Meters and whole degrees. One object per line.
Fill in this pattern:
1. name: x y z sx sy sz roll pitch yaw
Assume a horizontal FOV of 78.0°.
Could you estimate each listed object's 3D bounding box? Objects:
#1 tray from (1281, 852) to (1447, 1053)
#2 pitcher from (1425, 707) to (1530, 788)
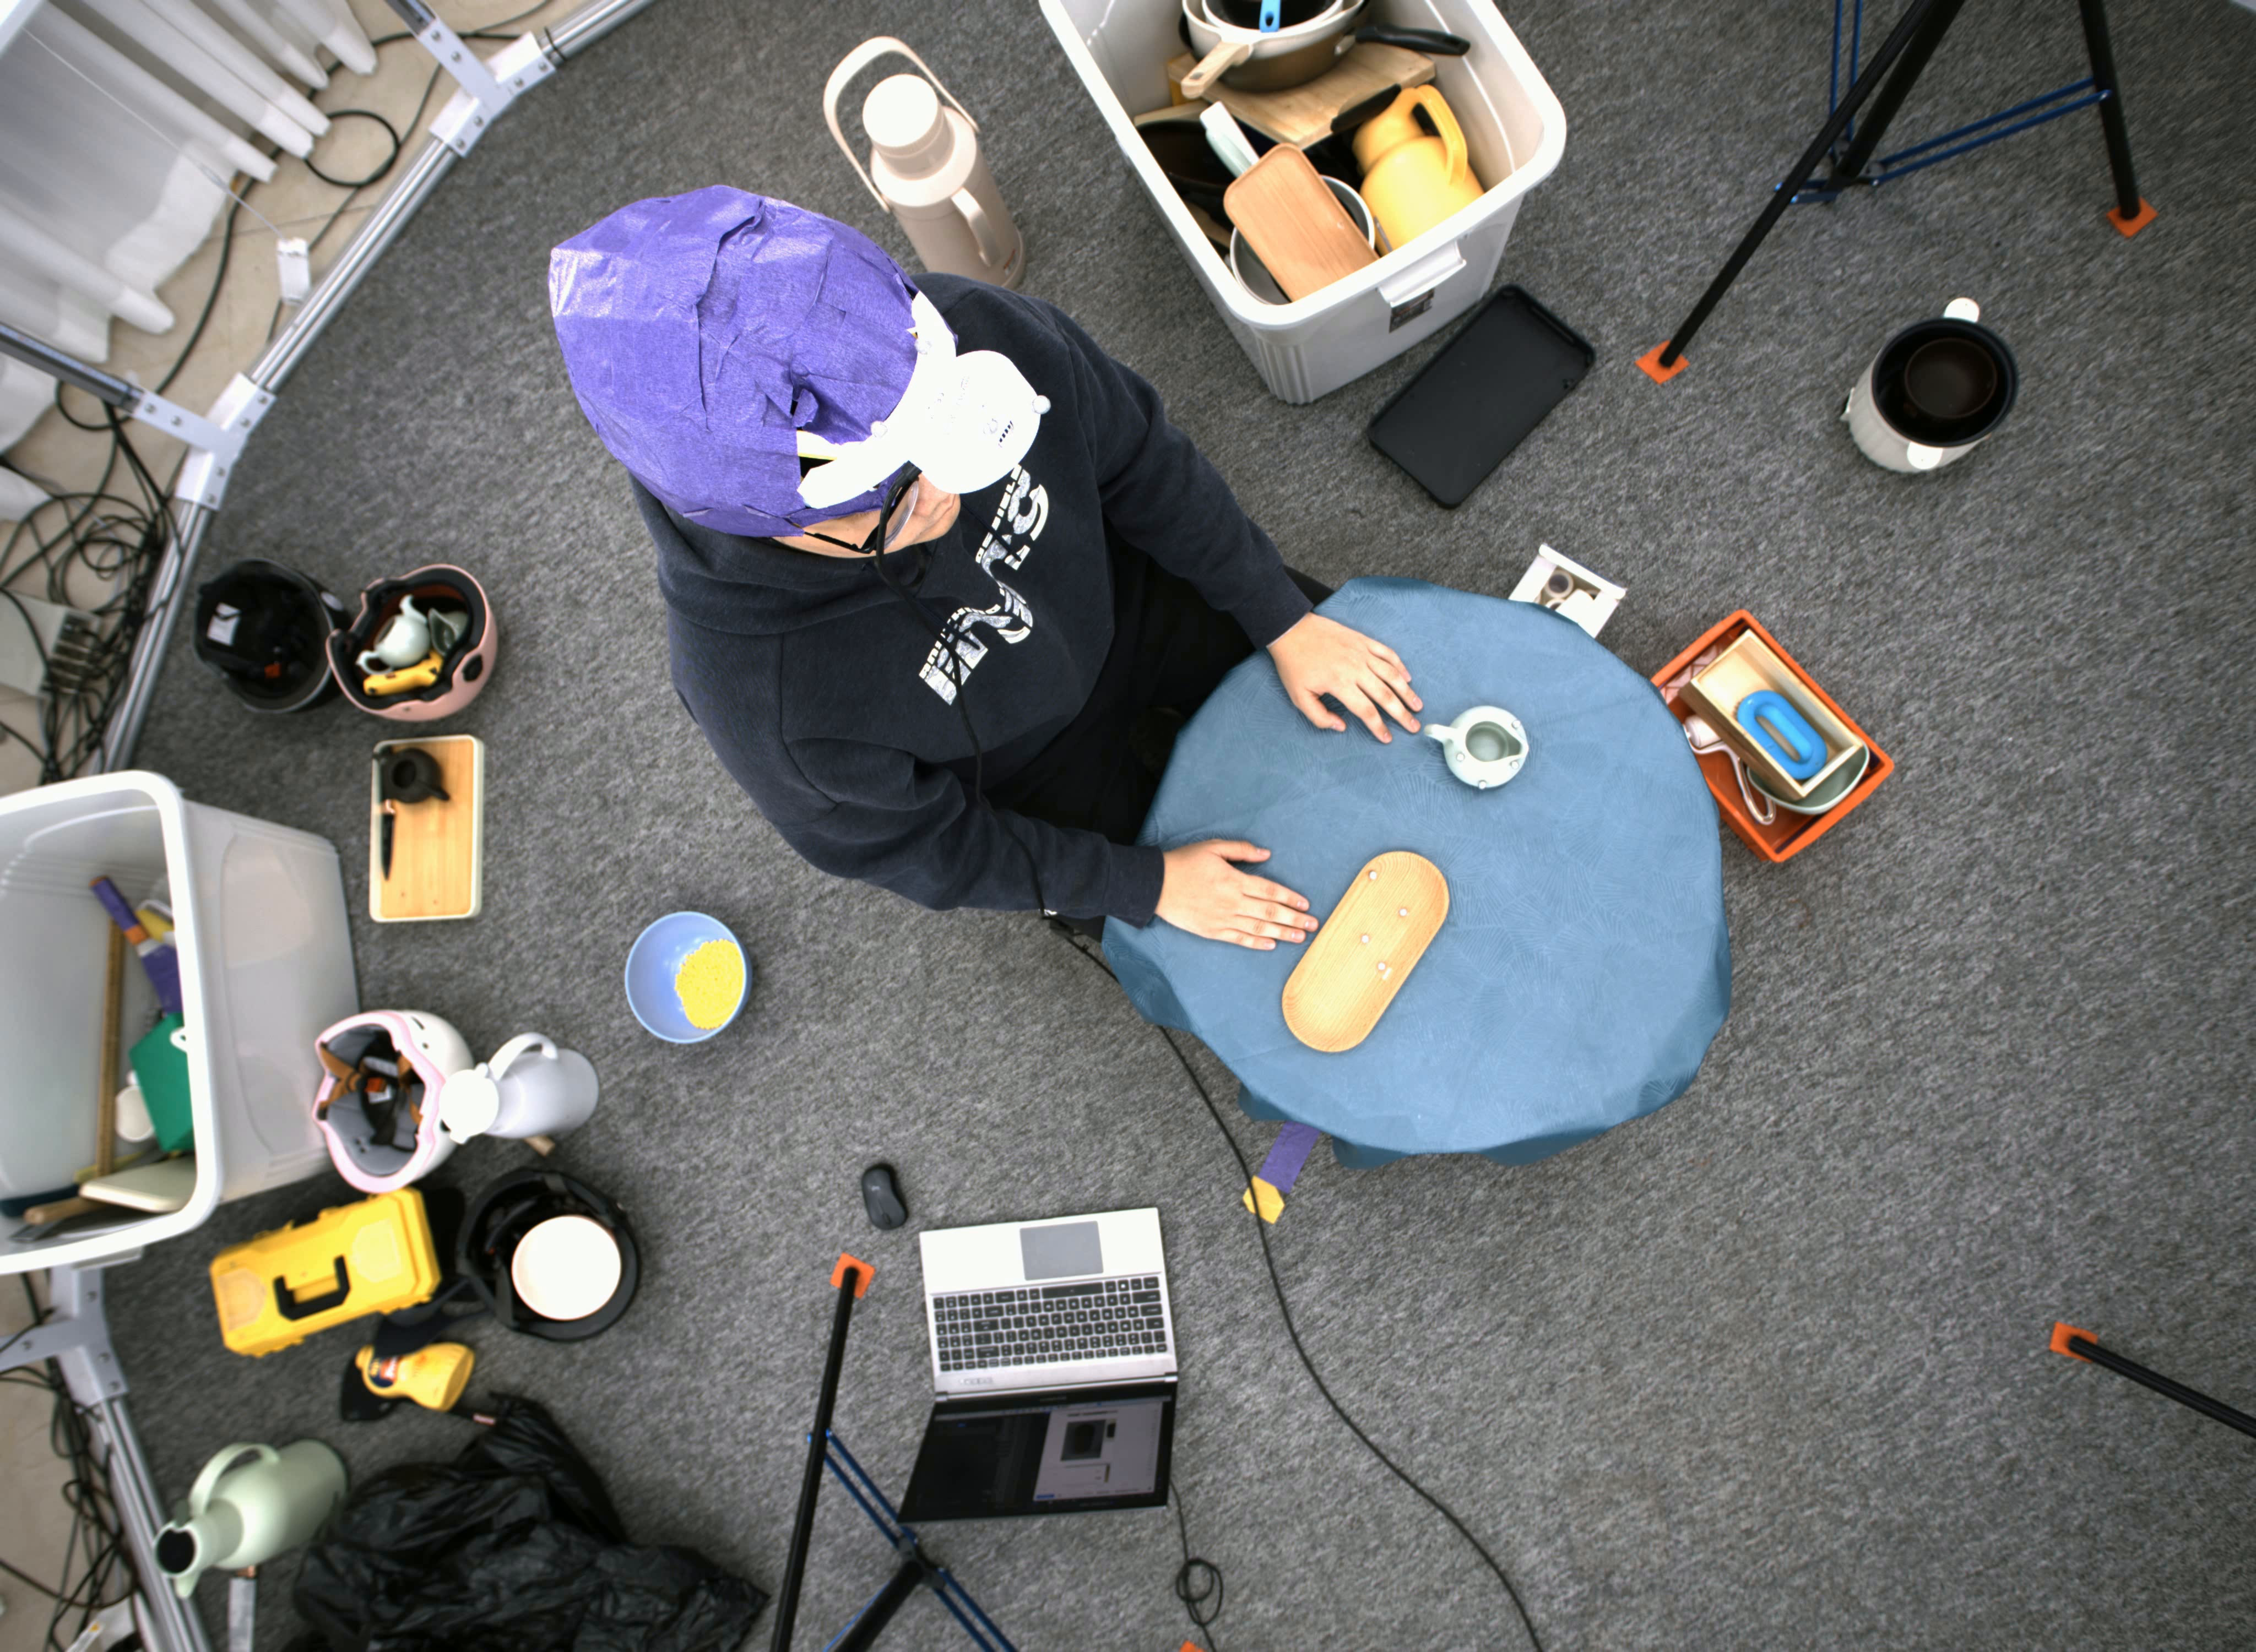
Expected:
1. tray: 0.248 0.132 1.454 0.101 0.020 0.232 34 95 12
2. pitcher: 0.362 -0.088 1.425 0.108 0.060 0.086 12 87 14
